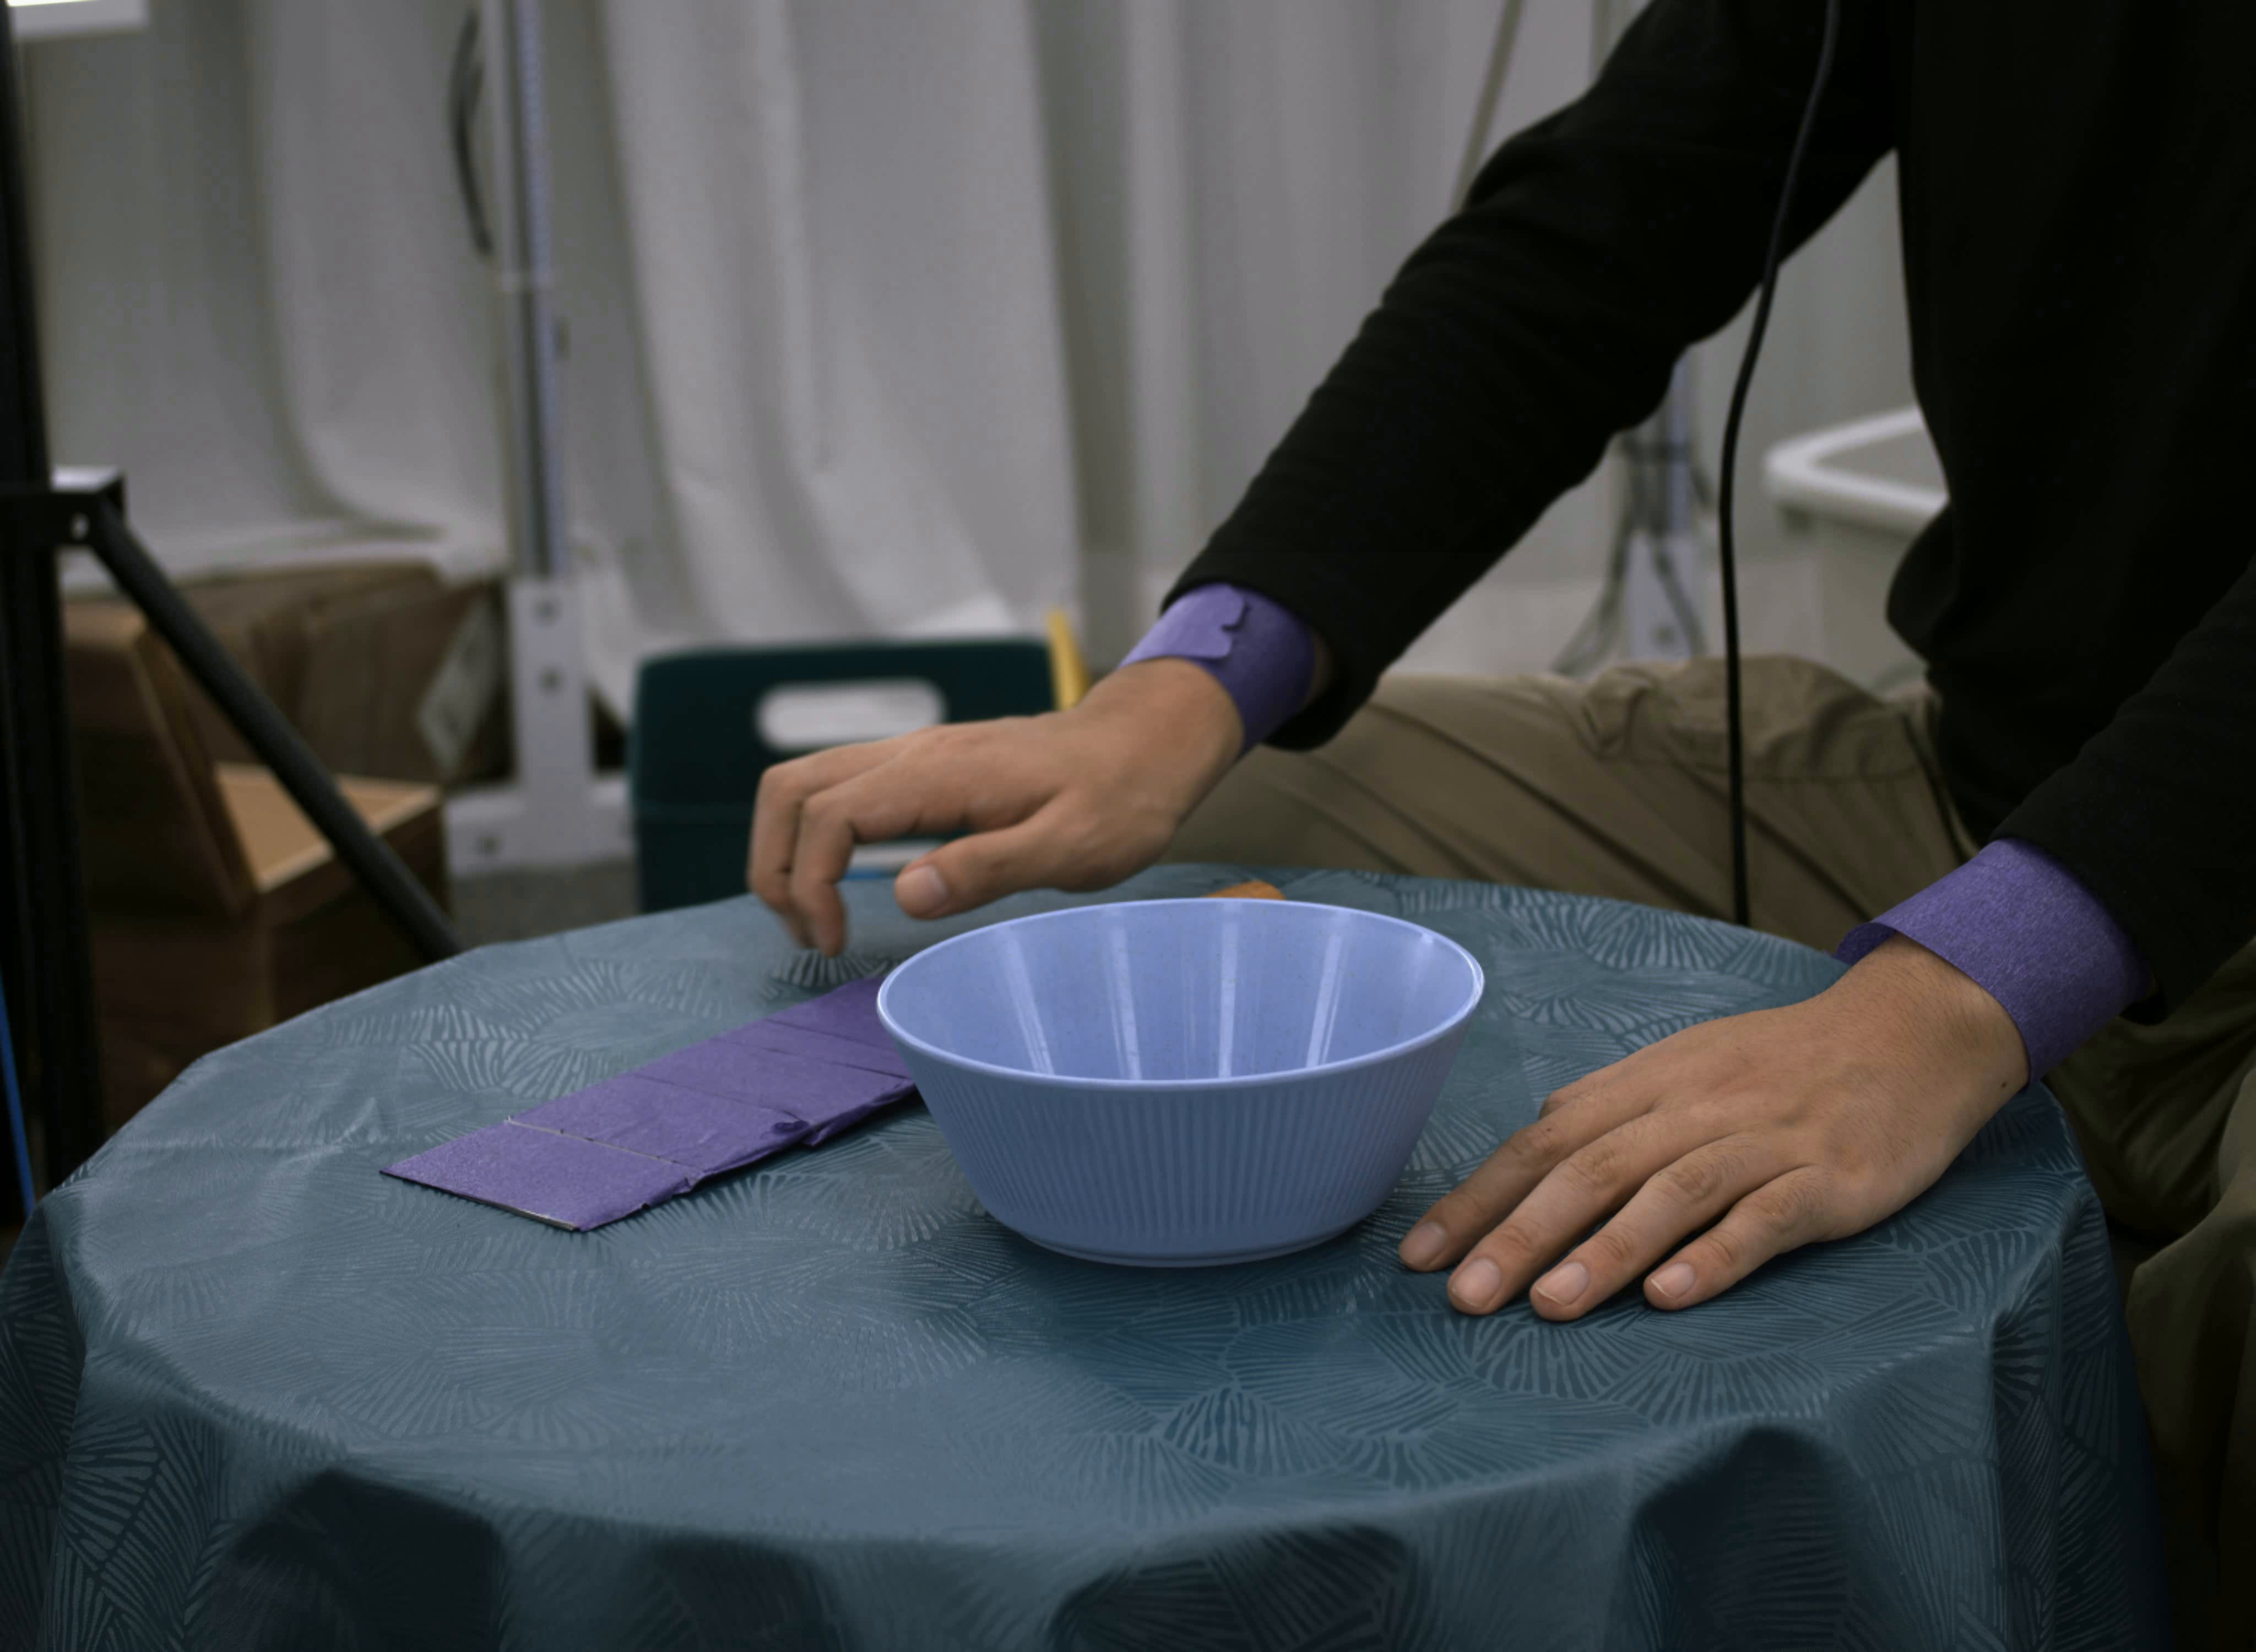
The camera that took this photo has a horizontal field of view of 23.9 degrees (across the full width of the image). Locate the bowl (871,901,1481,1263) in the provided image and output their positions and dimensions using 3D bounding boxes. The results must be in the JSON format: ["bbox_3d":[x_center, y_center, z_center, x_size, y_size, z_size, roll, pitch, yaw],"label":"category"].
[{"bbox_3d":[0.014,0.076,1.534,0.175,0.070,0.177,-2,16,-1],"label":"bowl"}]

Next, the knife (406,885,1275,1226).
[{"bbox_3d":[-0.086,0.066,1.670,0.106,0.032,0.308,13,23,43],"label":"knife"}]
